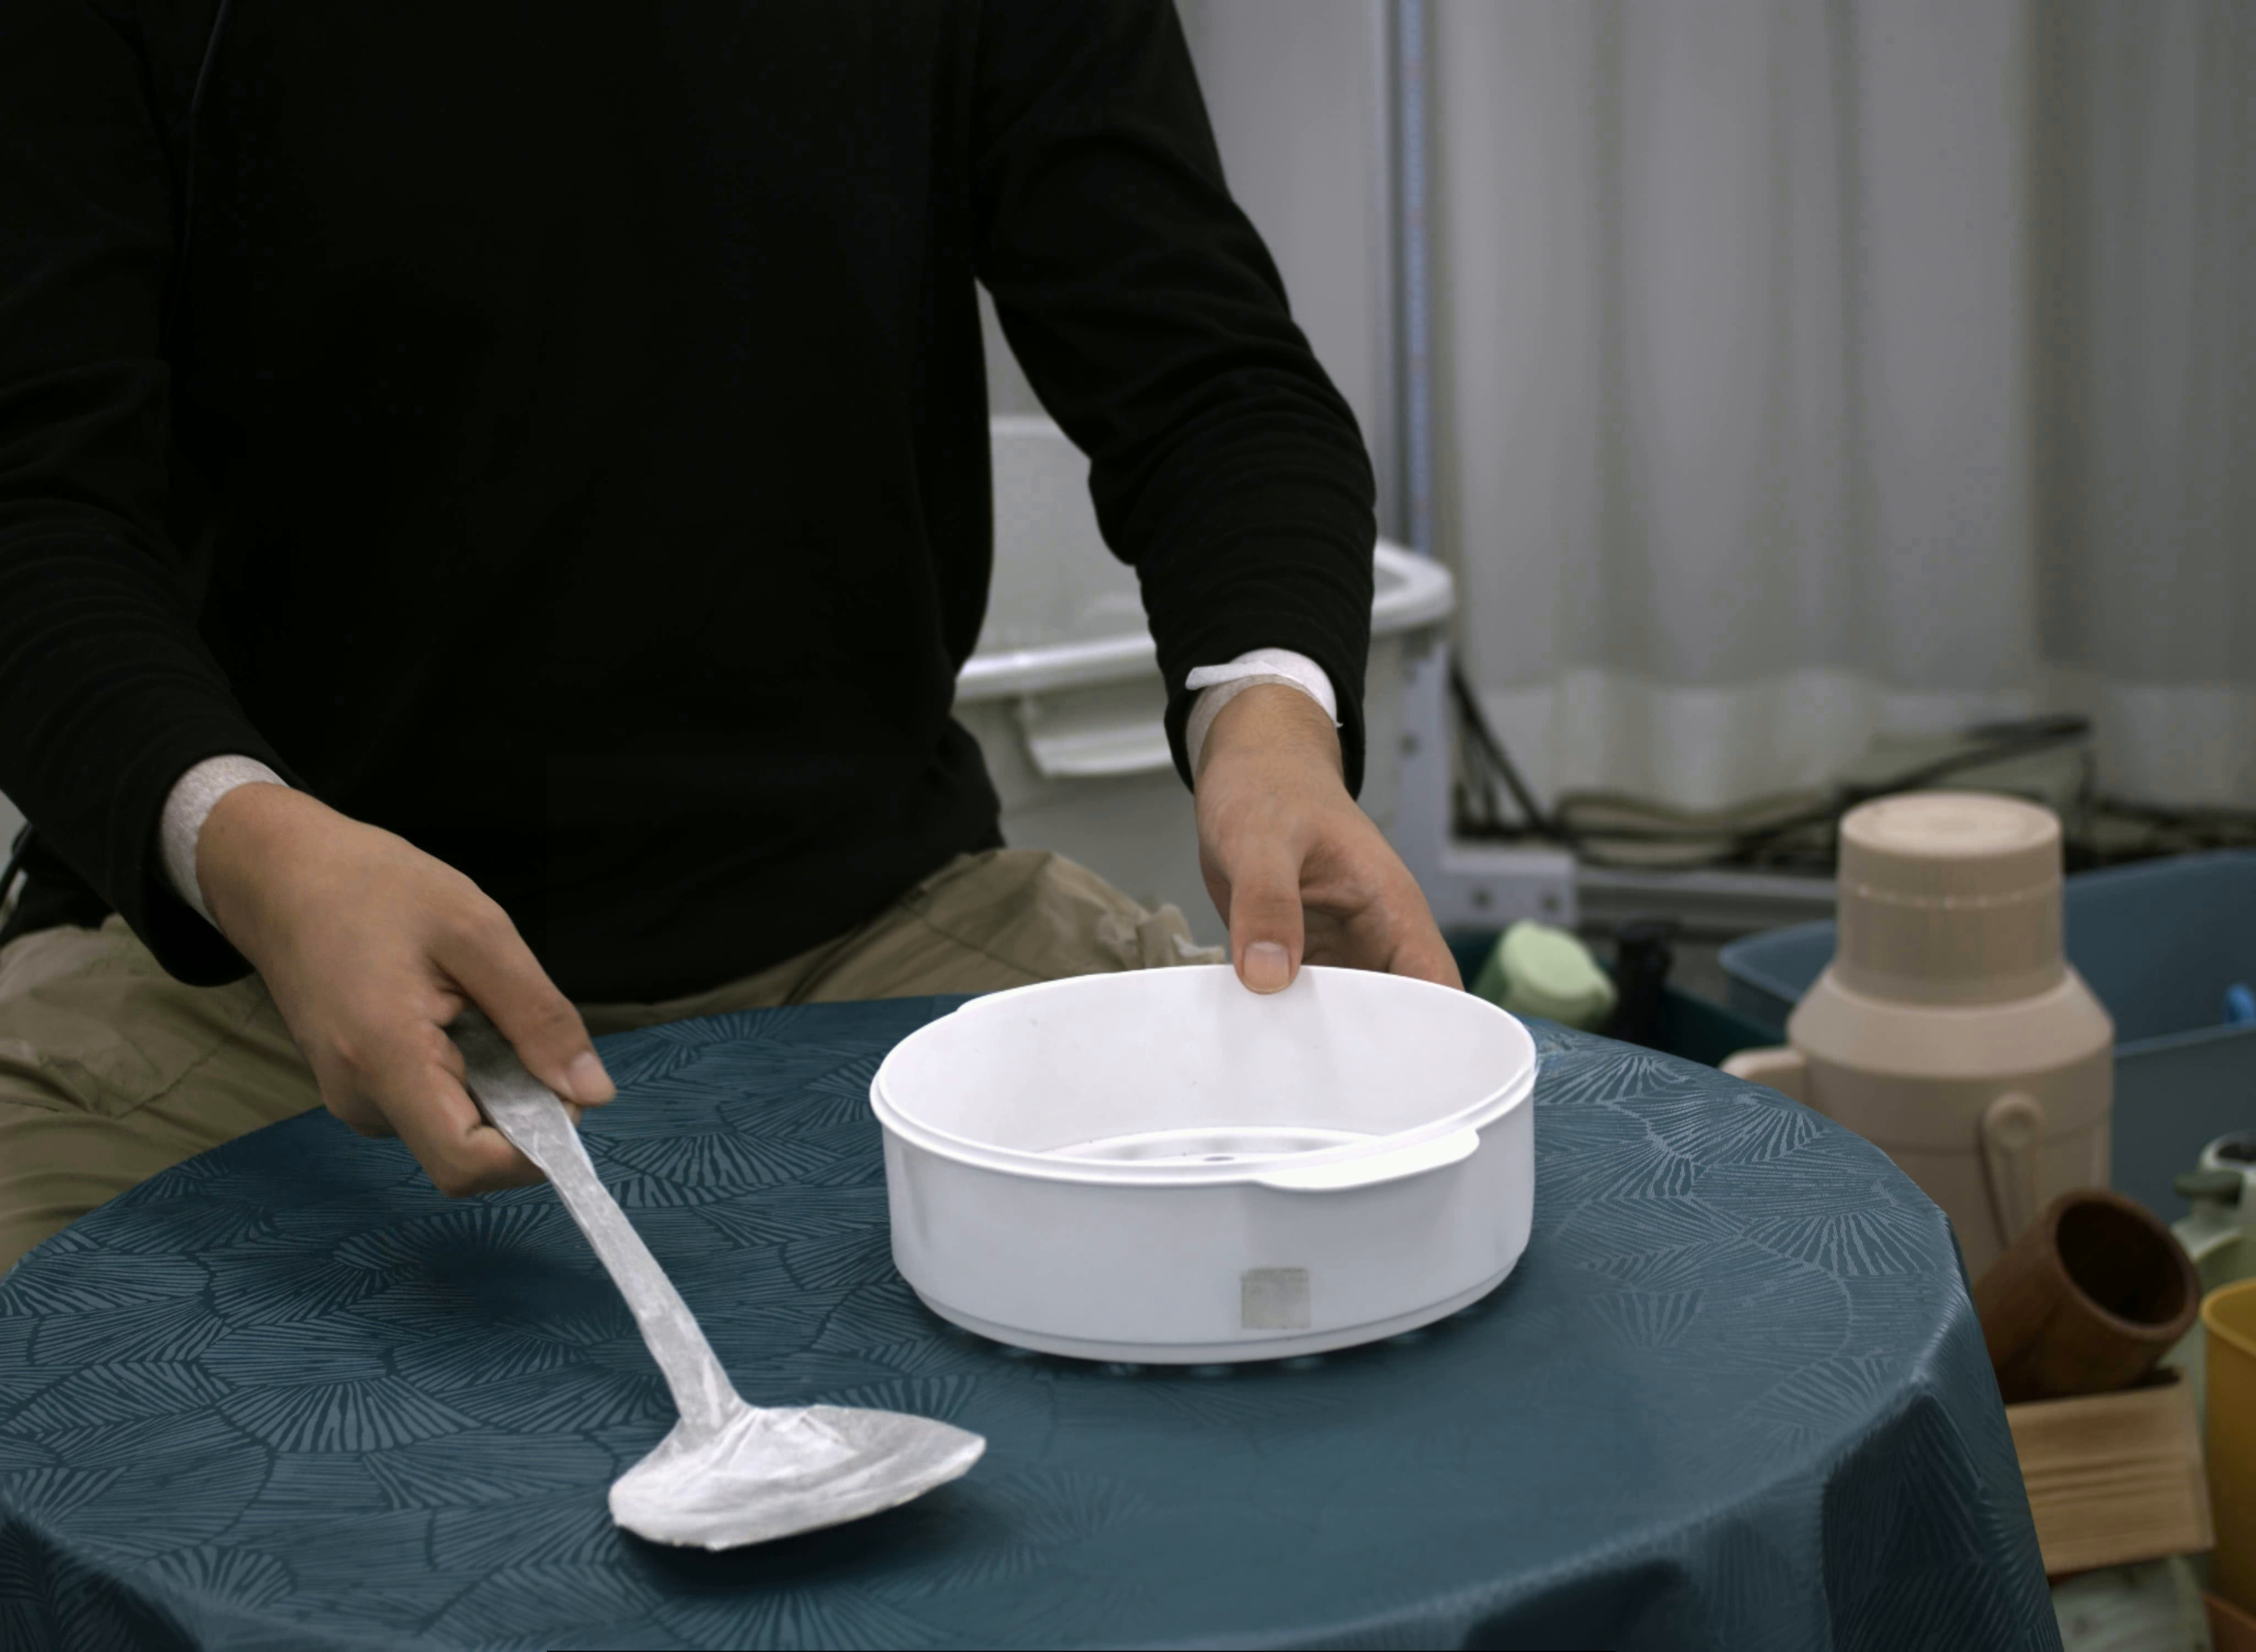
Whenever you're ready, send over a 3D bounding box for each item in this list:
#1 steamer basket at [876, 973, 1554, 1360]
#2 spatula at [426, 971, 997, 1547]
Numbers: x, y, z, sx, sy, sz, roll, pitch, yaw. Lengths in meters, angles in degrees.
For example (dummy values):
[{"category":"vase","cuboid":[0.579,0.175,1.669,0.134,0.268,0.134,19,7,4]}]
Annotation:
[{"category":"steamer basket","cuboid":[0.027,0.101,1.626,0.201,0.069,0.232,-9,15,-26]},{"category":"spatula","cuboid":[-0.144,0.113,1.570,0.098,0.044,0.369,-15,33,-19]}]
